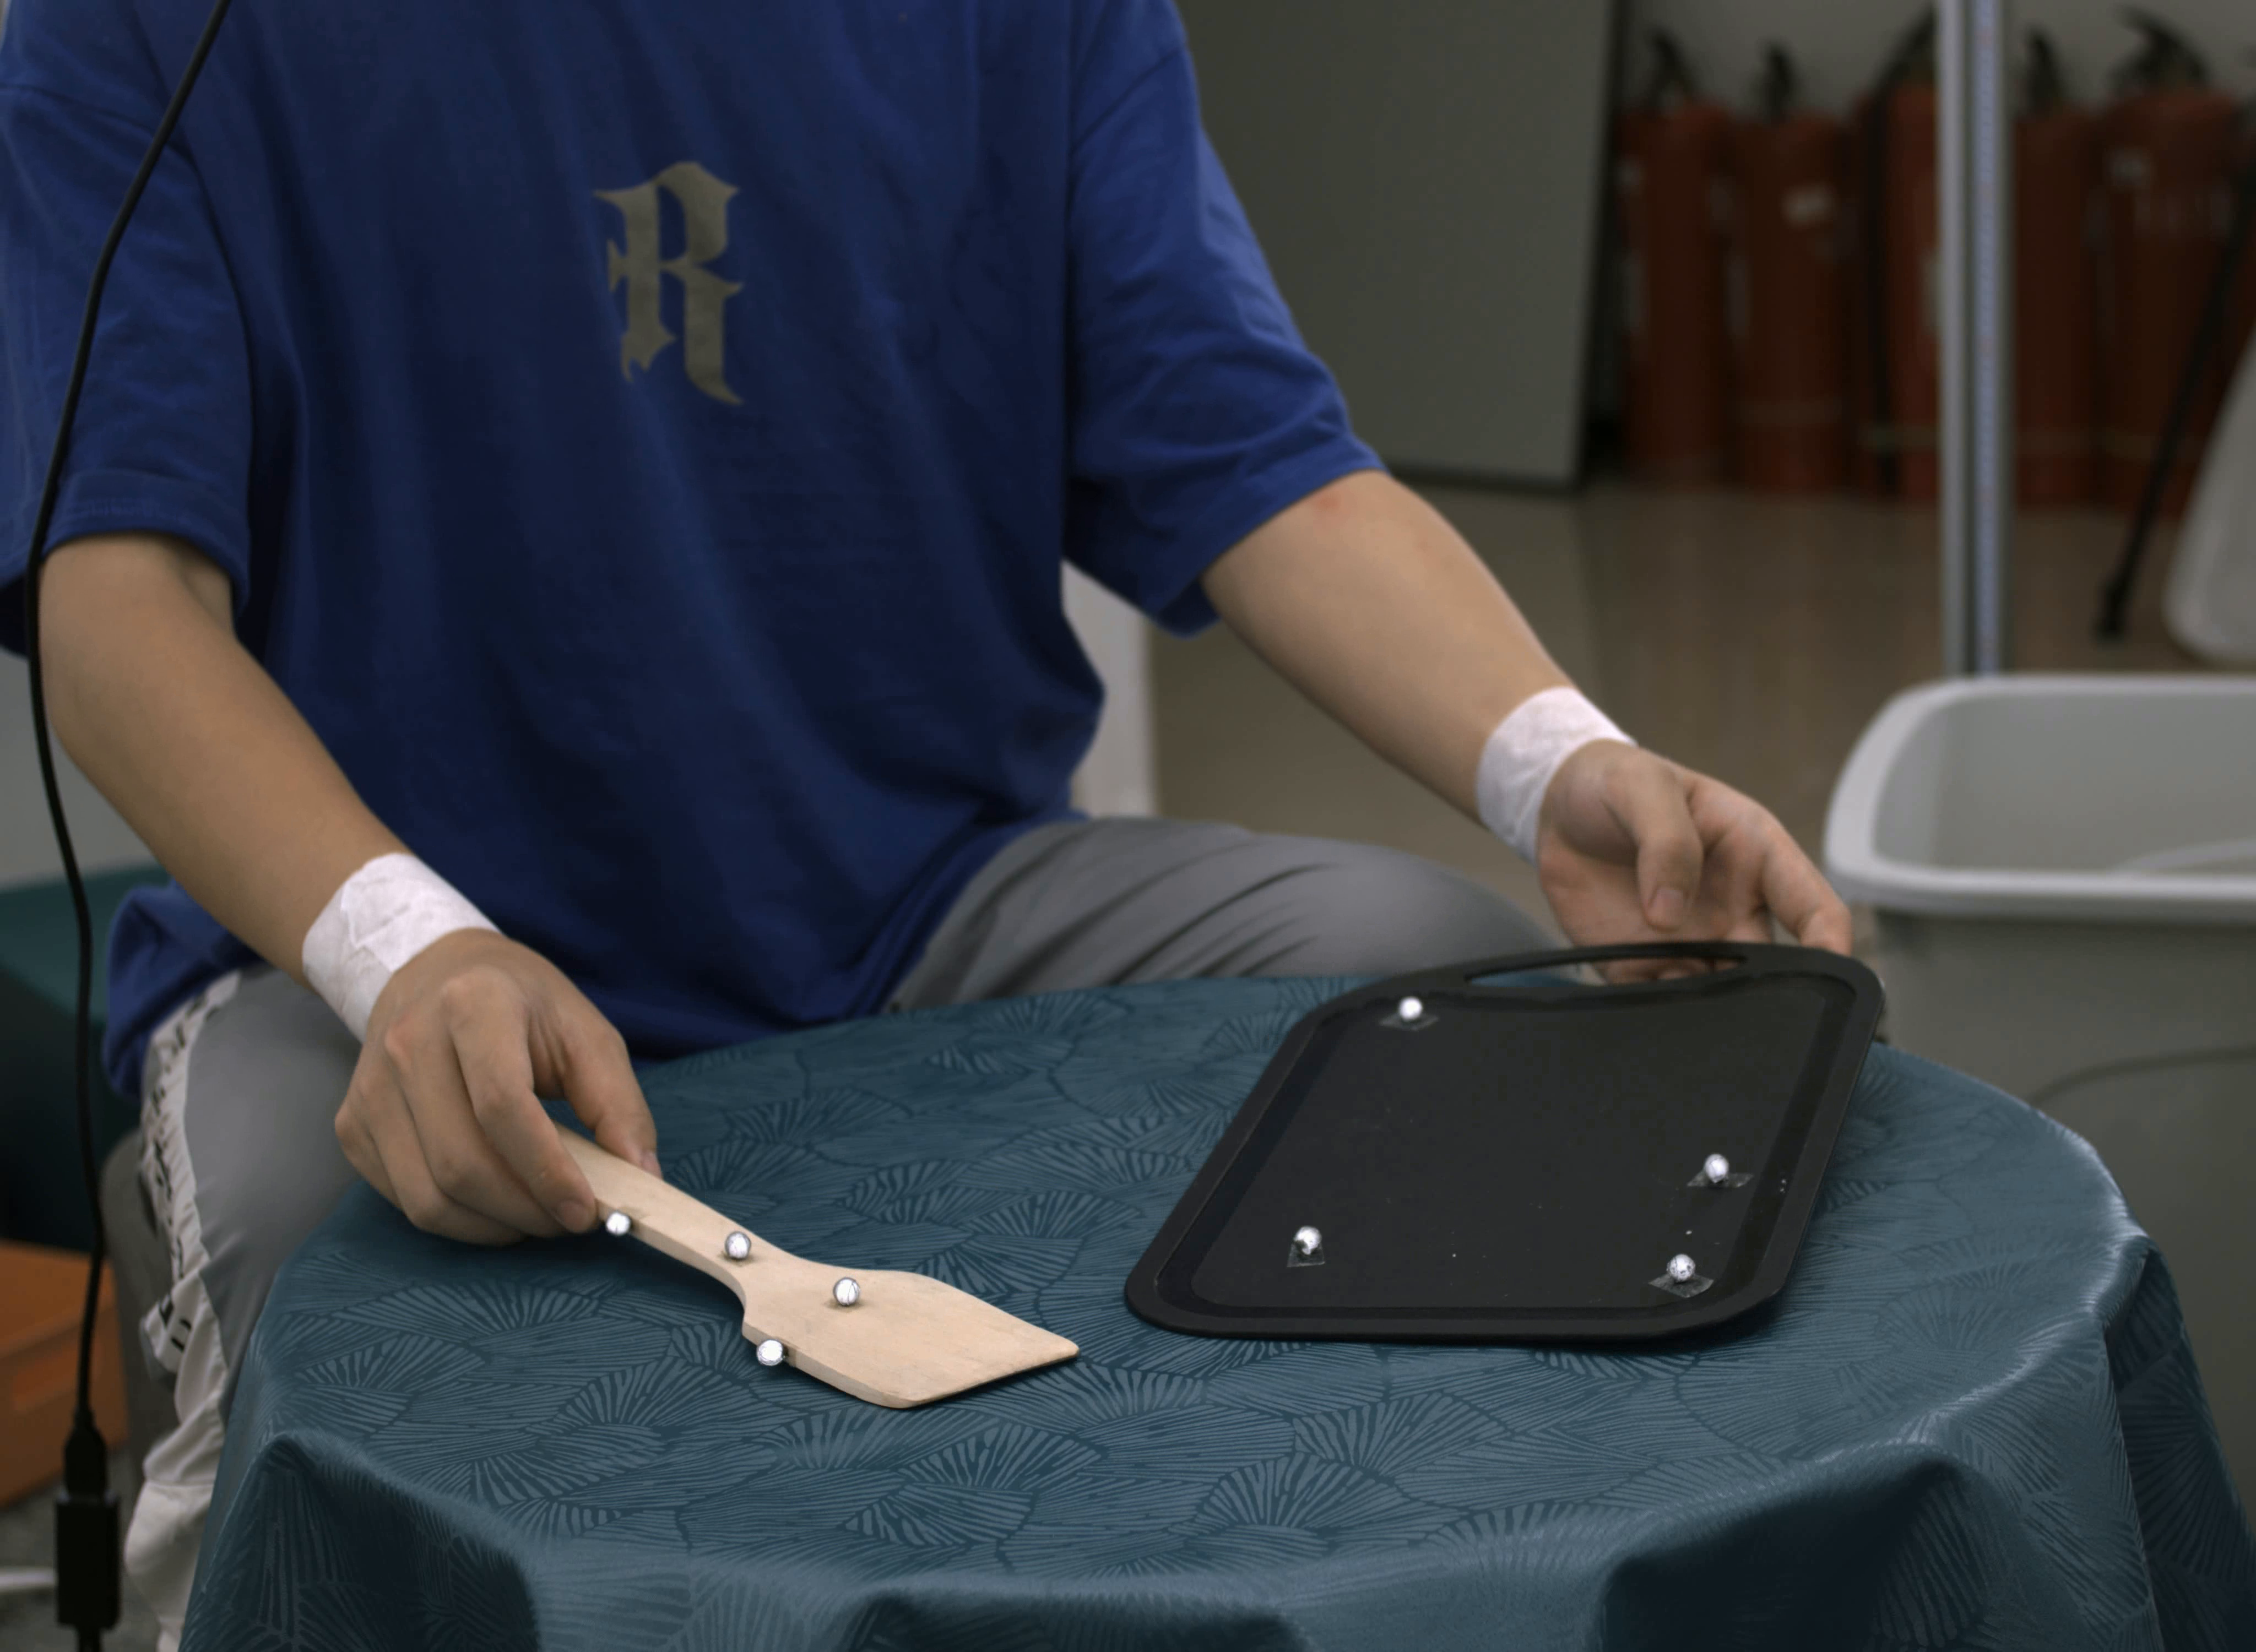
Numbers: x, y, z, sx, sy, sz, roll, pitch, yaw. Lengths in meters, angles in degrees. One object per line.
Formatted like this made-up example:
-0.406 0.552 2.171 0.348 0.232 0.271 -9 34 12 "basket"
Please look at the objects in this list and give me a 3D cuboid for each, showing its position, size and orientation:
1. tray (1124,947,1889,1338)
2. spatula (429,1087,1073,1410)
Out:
0.130 0.097 1.750 0.210 0.010 0.323 -2 19 18 "tray"
-0.133 0.129 1.705 0.071 0.011 0.296 -14 24 -37 "spatula"
